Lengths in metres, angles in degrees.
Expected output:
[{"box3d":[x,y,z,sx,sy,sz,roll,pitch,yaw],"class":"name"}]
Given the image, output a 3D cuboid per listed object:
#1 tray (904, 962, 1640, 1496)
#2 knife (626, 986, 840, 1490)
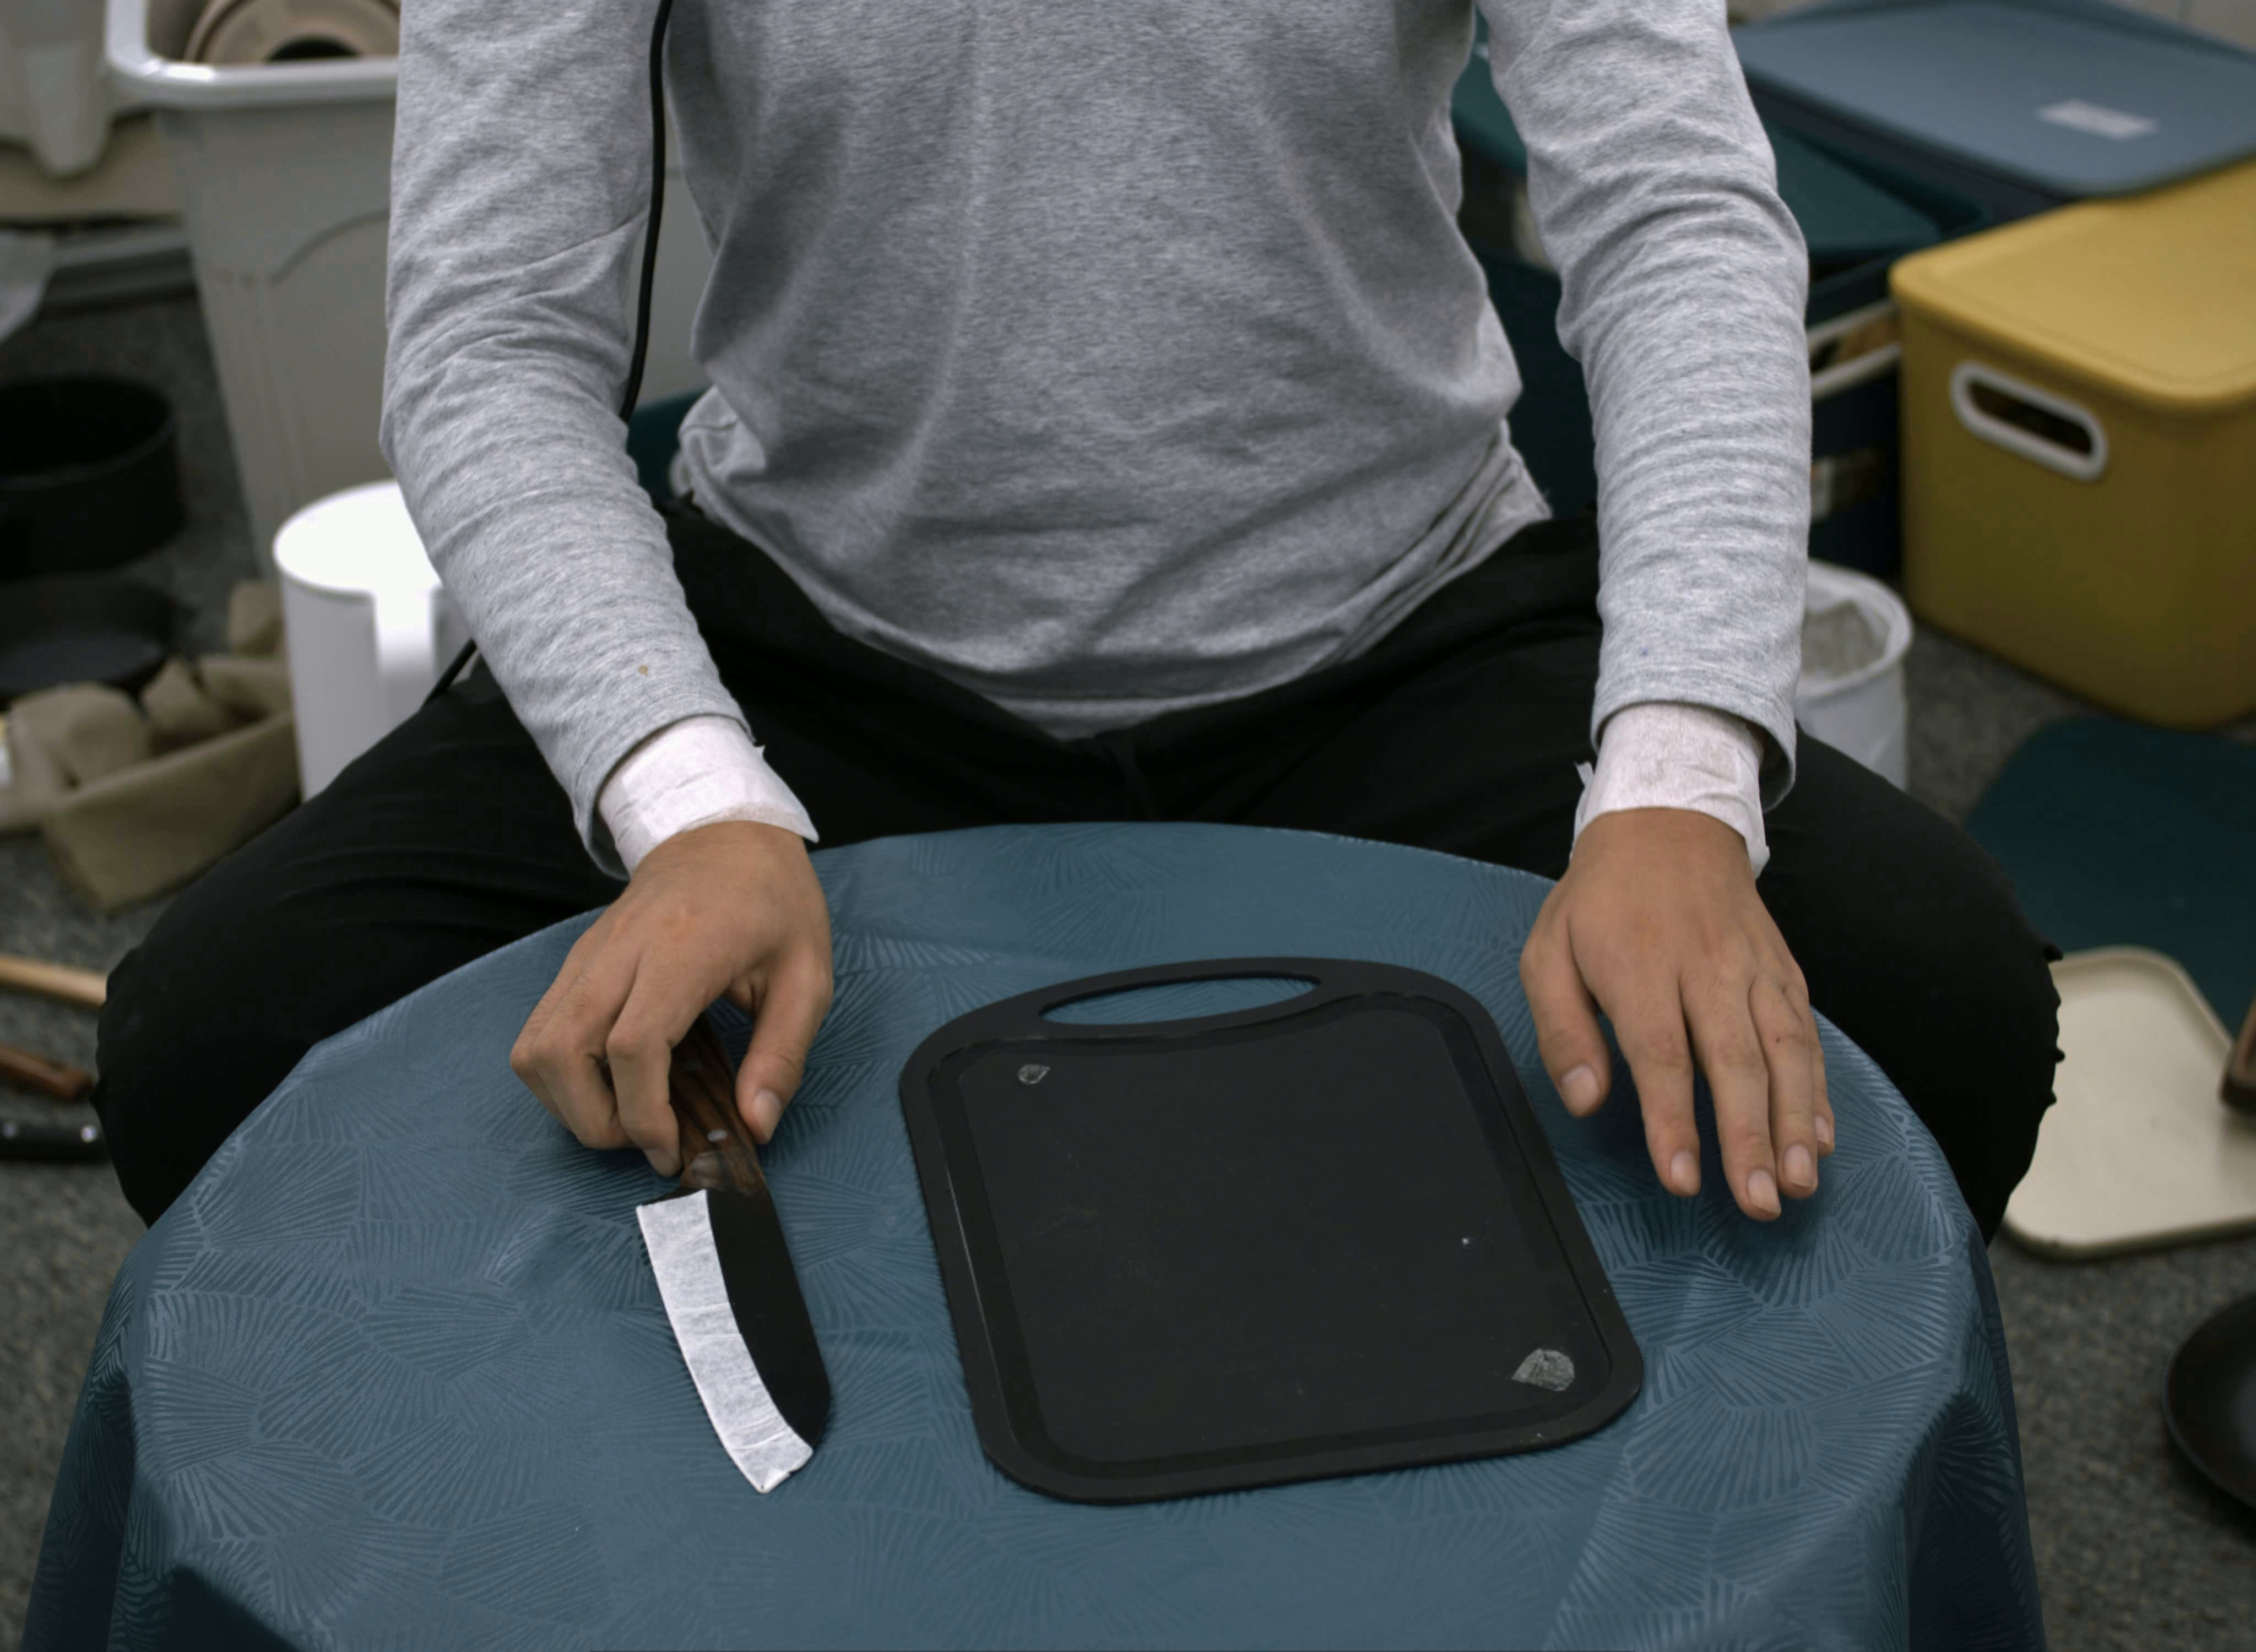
[{"box3d":[0.039,0.123,1.849,0.210,0.009,0.329,-6,27,-6],"class":"tray"},{"box3d":[-0.134,0.133,1.837,0.050,0.020,0.293,-12,30,-6],"class":"knife"}]
